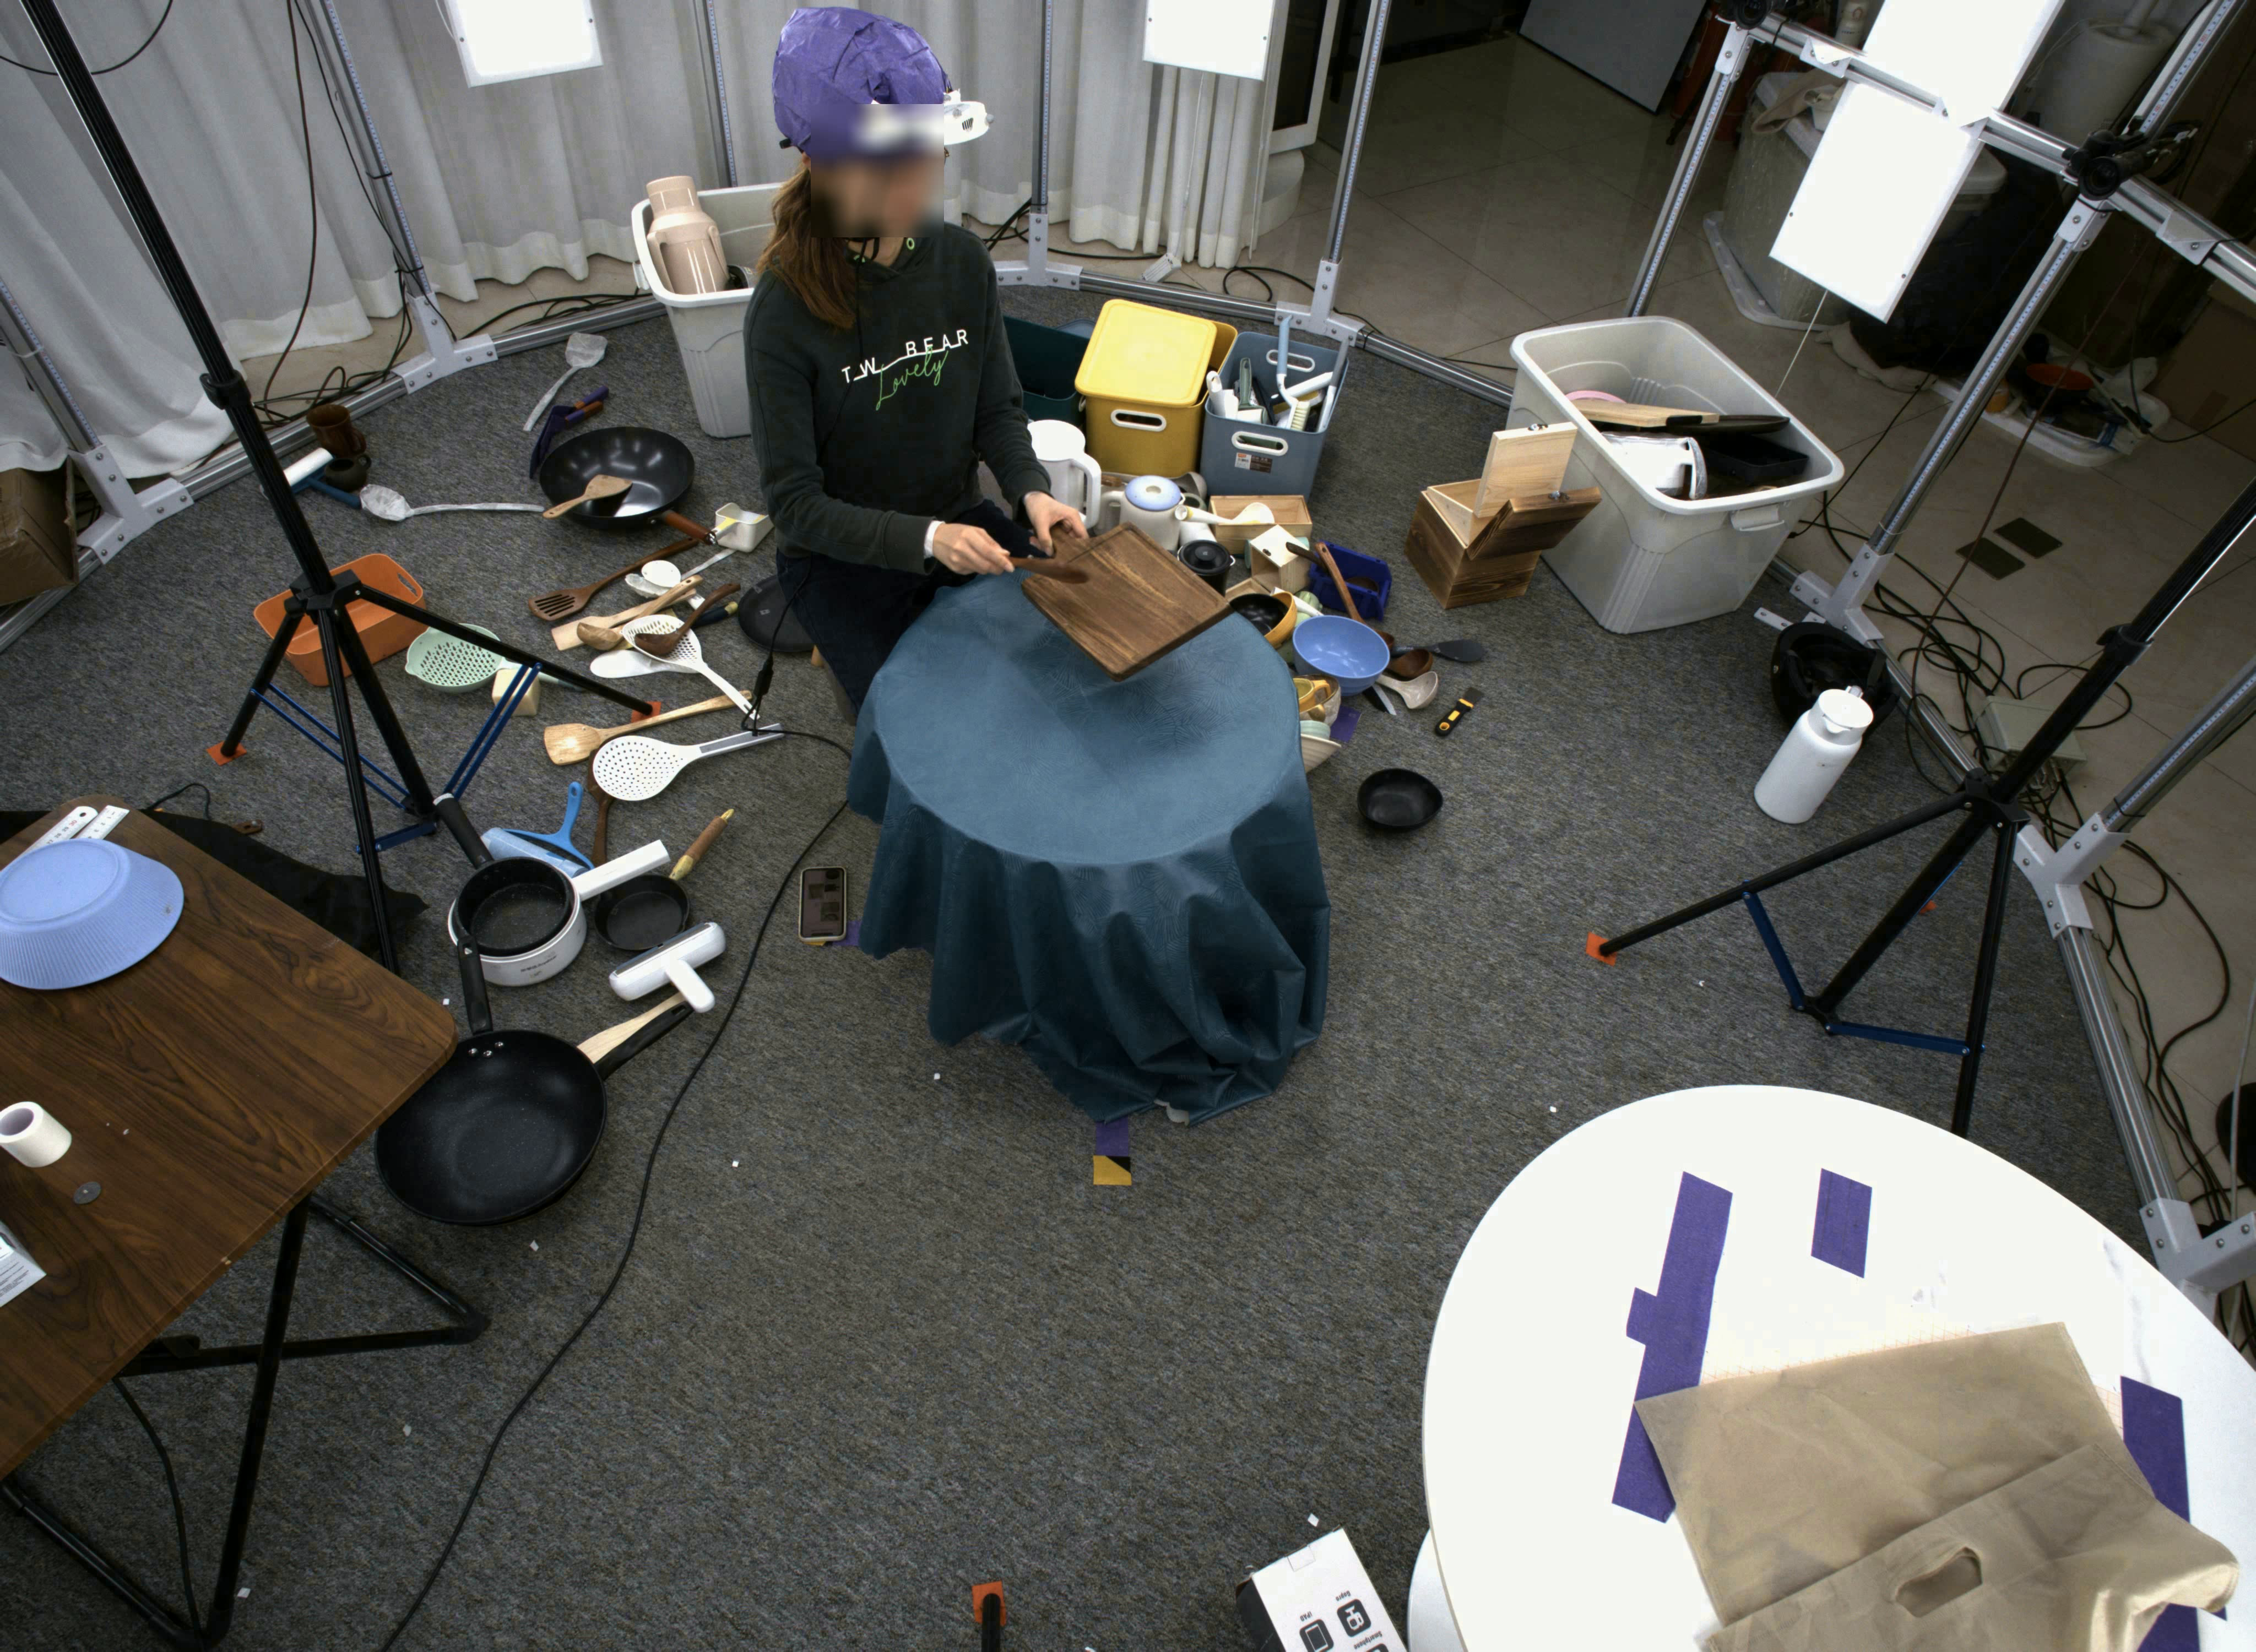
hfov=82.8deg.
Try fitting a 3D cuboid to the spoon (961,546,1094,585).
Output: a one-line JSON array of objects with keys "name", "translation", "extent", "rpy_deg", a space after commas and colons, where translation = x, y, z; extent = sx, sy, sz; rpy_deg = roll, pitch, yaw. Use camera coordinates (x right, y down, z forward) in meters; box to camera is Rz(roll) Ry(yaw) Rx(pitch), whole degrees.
[{"name": "spoon", "translation": [-0.144, -0.363, 1.797], "extent": [0.218, 0.074, 0.017], "rpy_deg": [17, 89, 28]}]

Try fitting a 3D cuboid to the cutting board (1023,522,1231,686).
[{"name": "cutting board", "translation": [-0.032, -0.346, 1.842], "extent": [0.202, 0.022, 0.359], "rpy_deg": [-33, 52, -13]}]
